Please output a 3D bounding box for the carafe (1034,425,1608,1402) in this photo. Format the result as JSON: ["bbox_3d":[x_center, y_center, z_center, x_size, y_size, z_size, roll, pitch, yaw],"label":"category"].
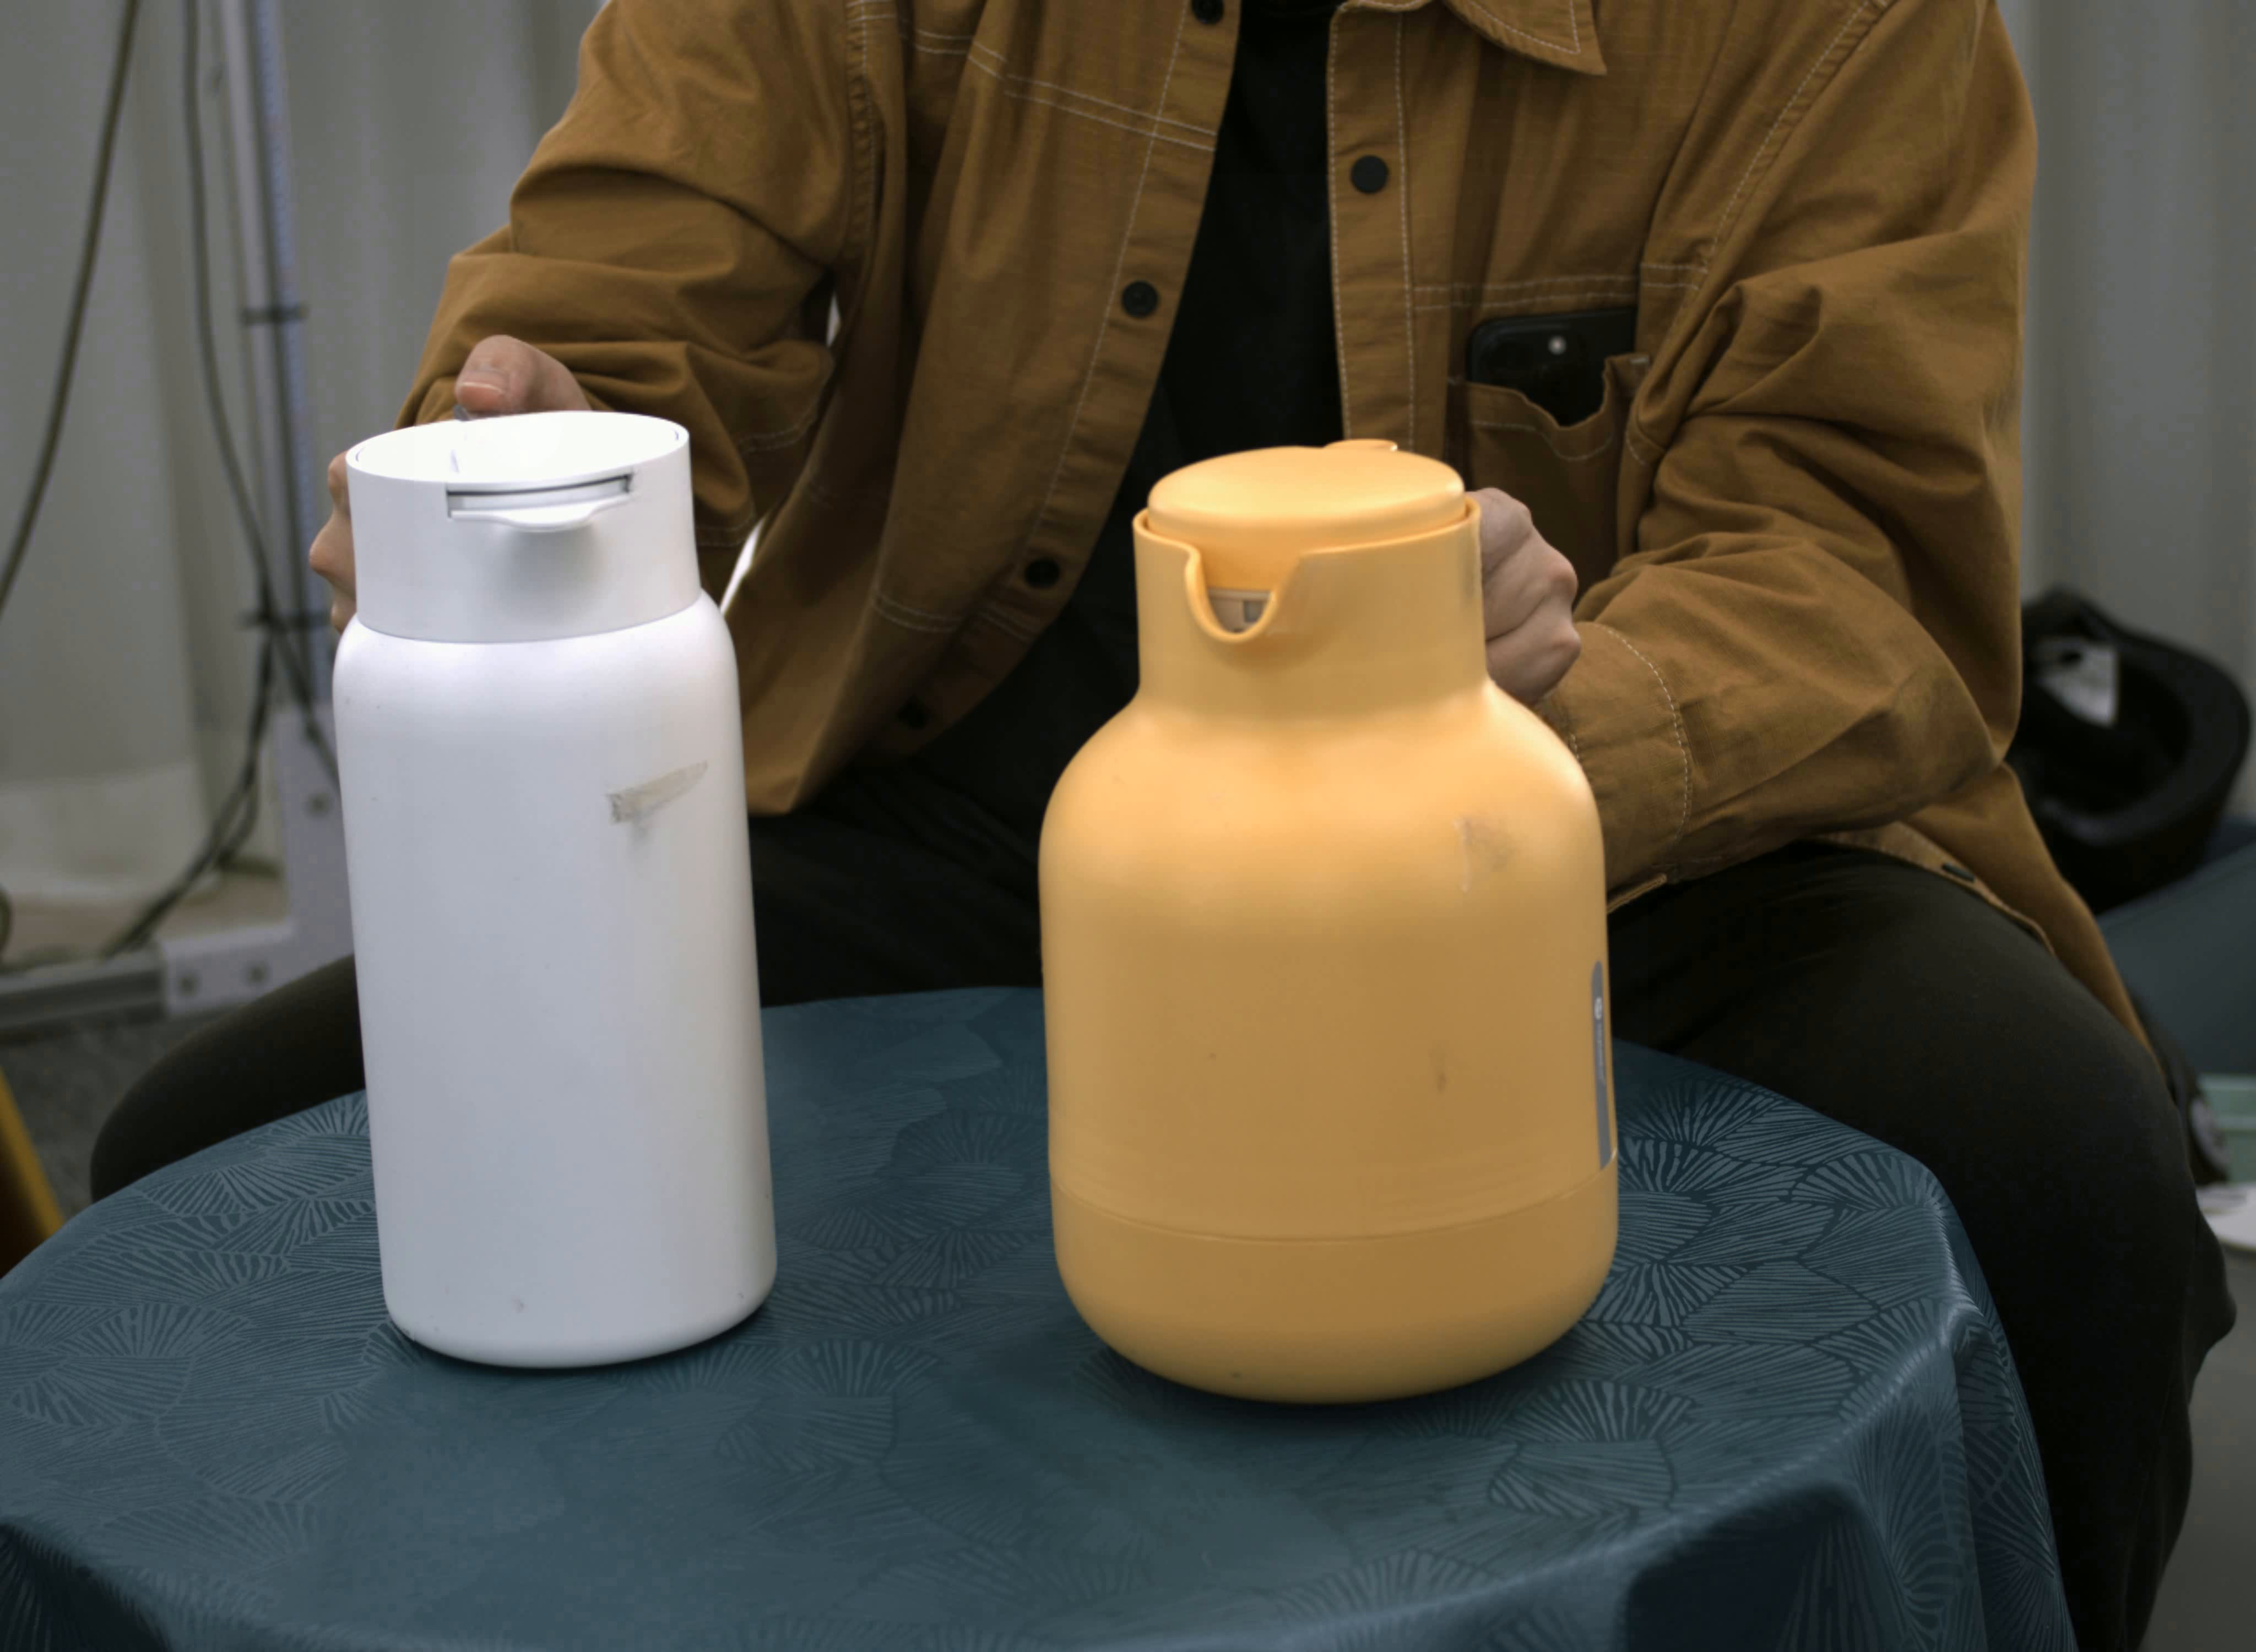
[{"bbox_3d":[0.062,0.016,1.563,0.163,0.259,0.203,6,18,20],"label":"carafe"}]

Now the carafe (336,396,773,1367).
[{"bbox_3d":[-0.174,0.012,1.615,0.123,0.268,0.174,-8,15,-13],"label":"carafe"}]
